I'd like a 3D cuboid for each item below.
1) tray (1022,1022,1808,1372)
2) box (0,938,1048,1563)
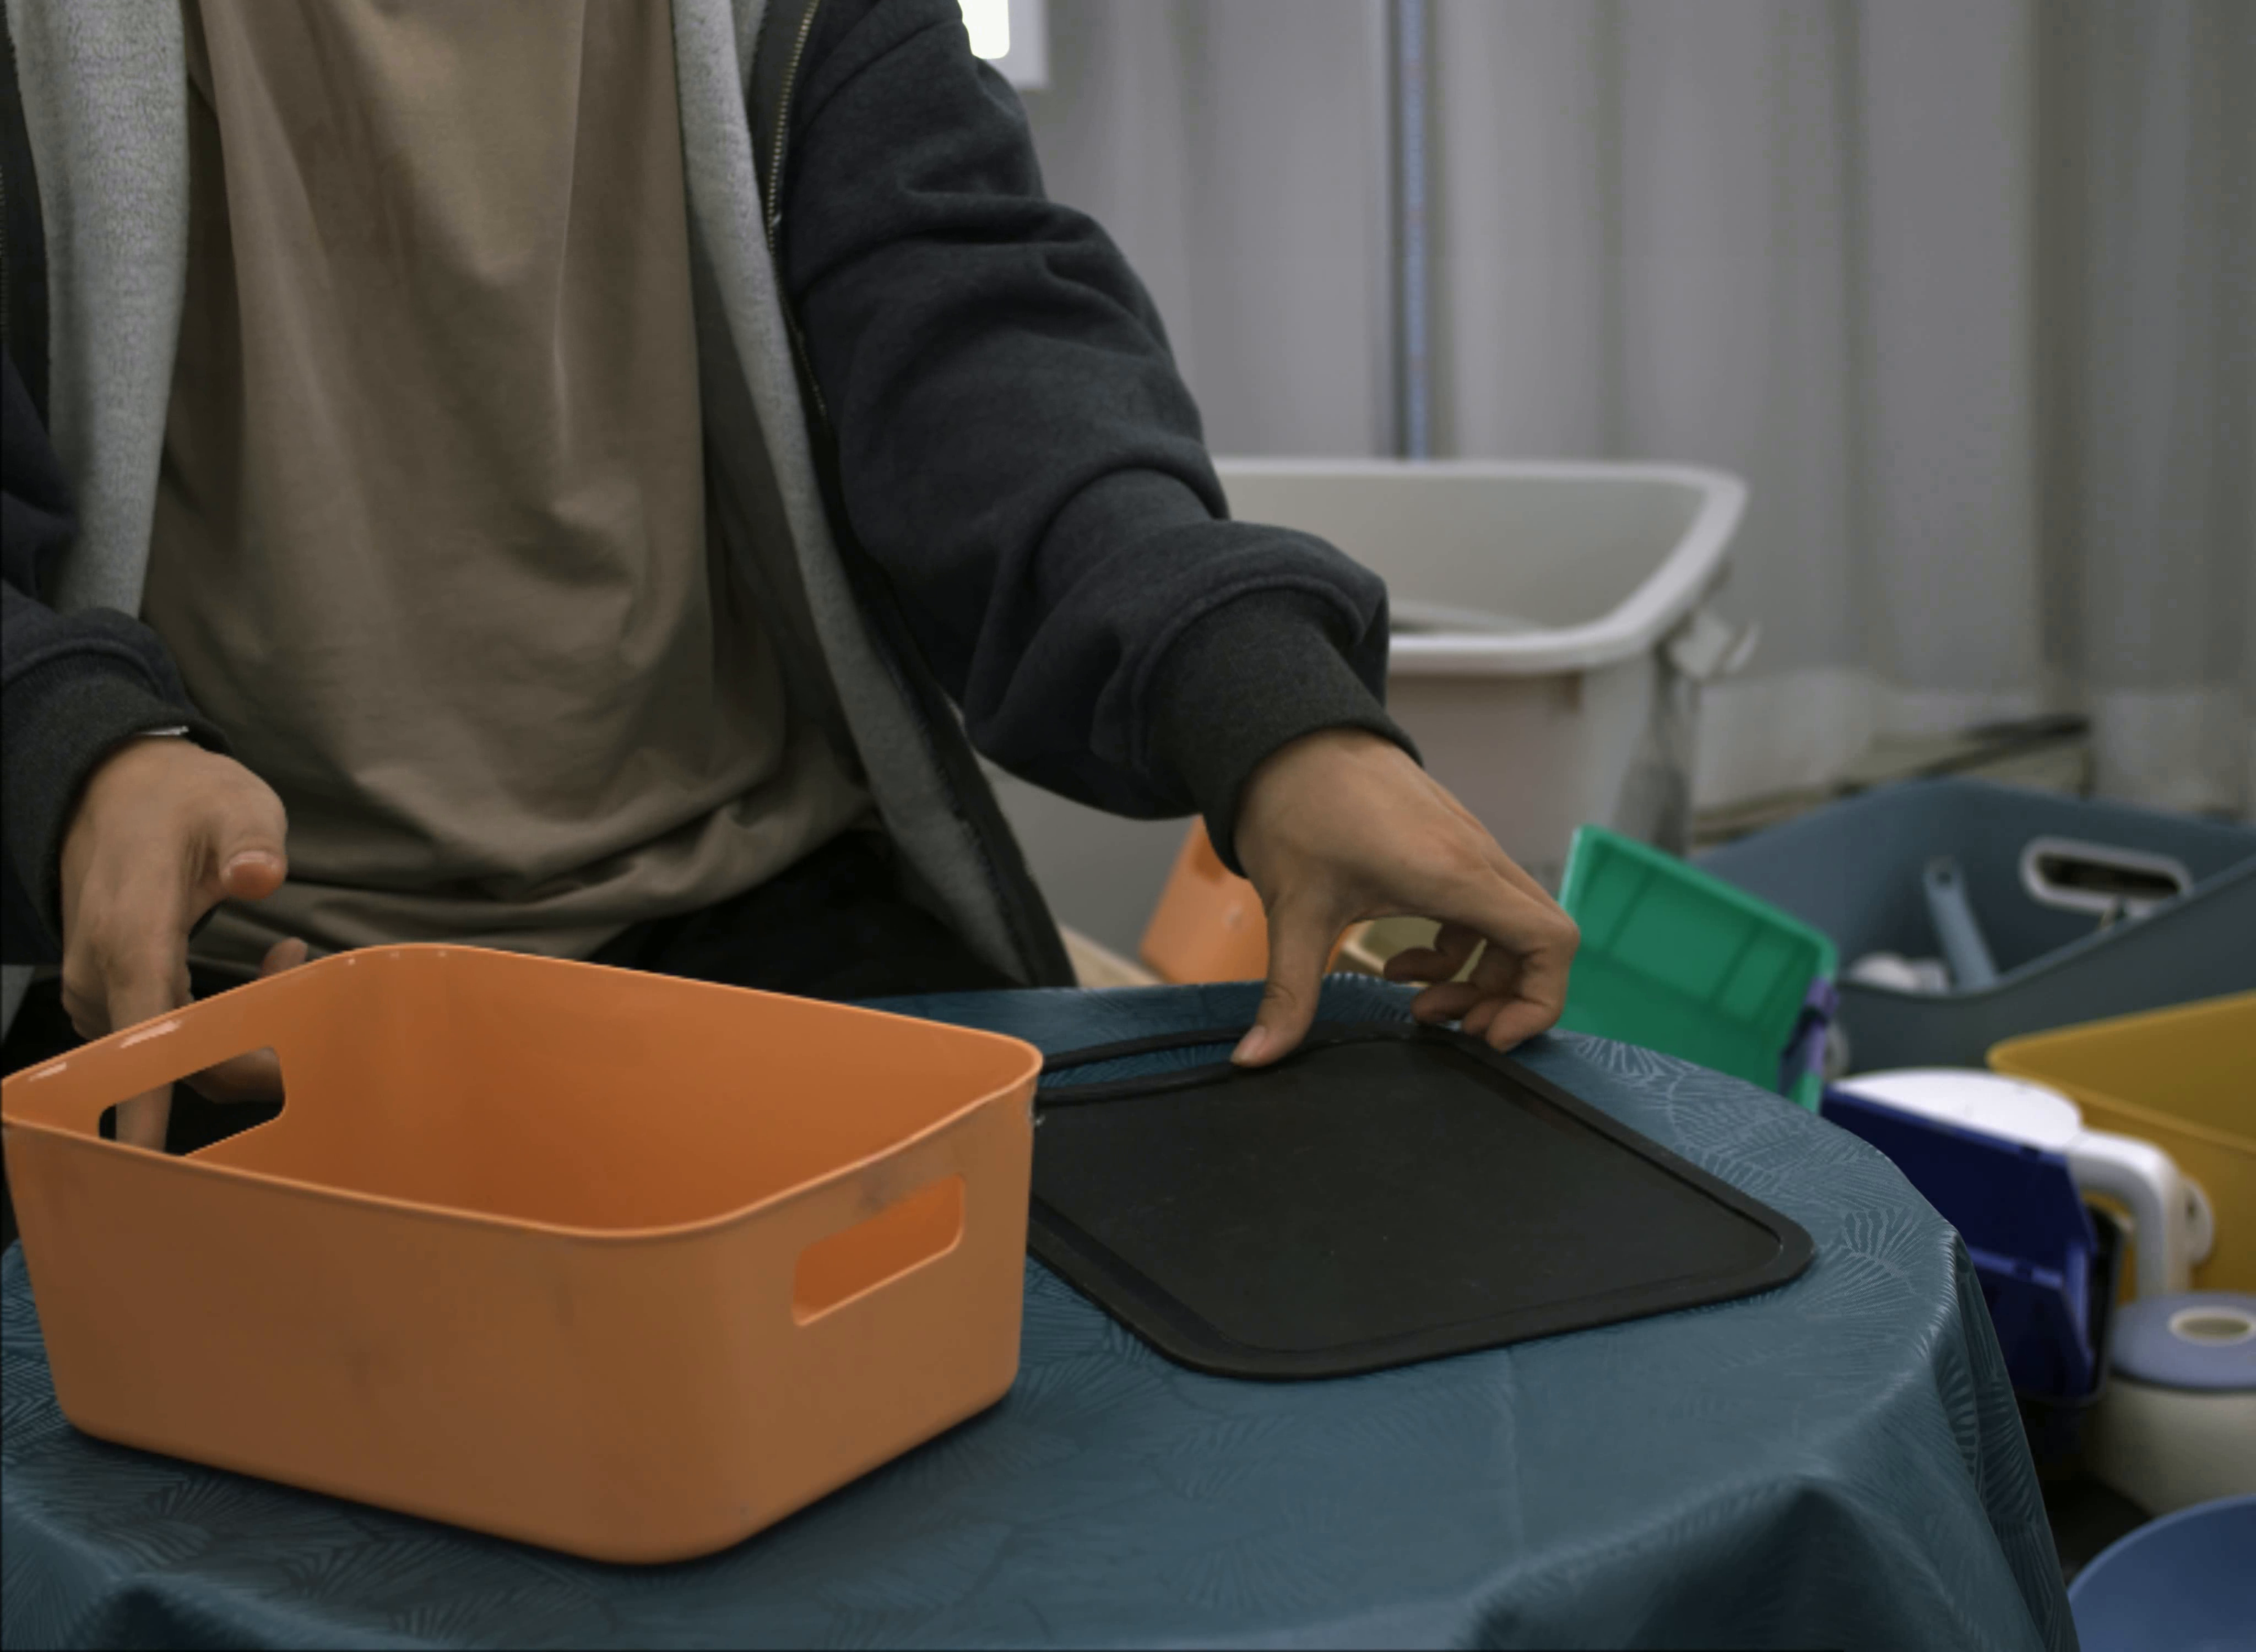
[{"bbox_3d":[0.057,0.109,1.714,0.210,0.010,0.328,-9,16,-21],"label":"tray"},{"bbox_3d":[-0.168,0.116,1.543,0.274,0.102,0.199,8,18,34],"label":"box"}]
